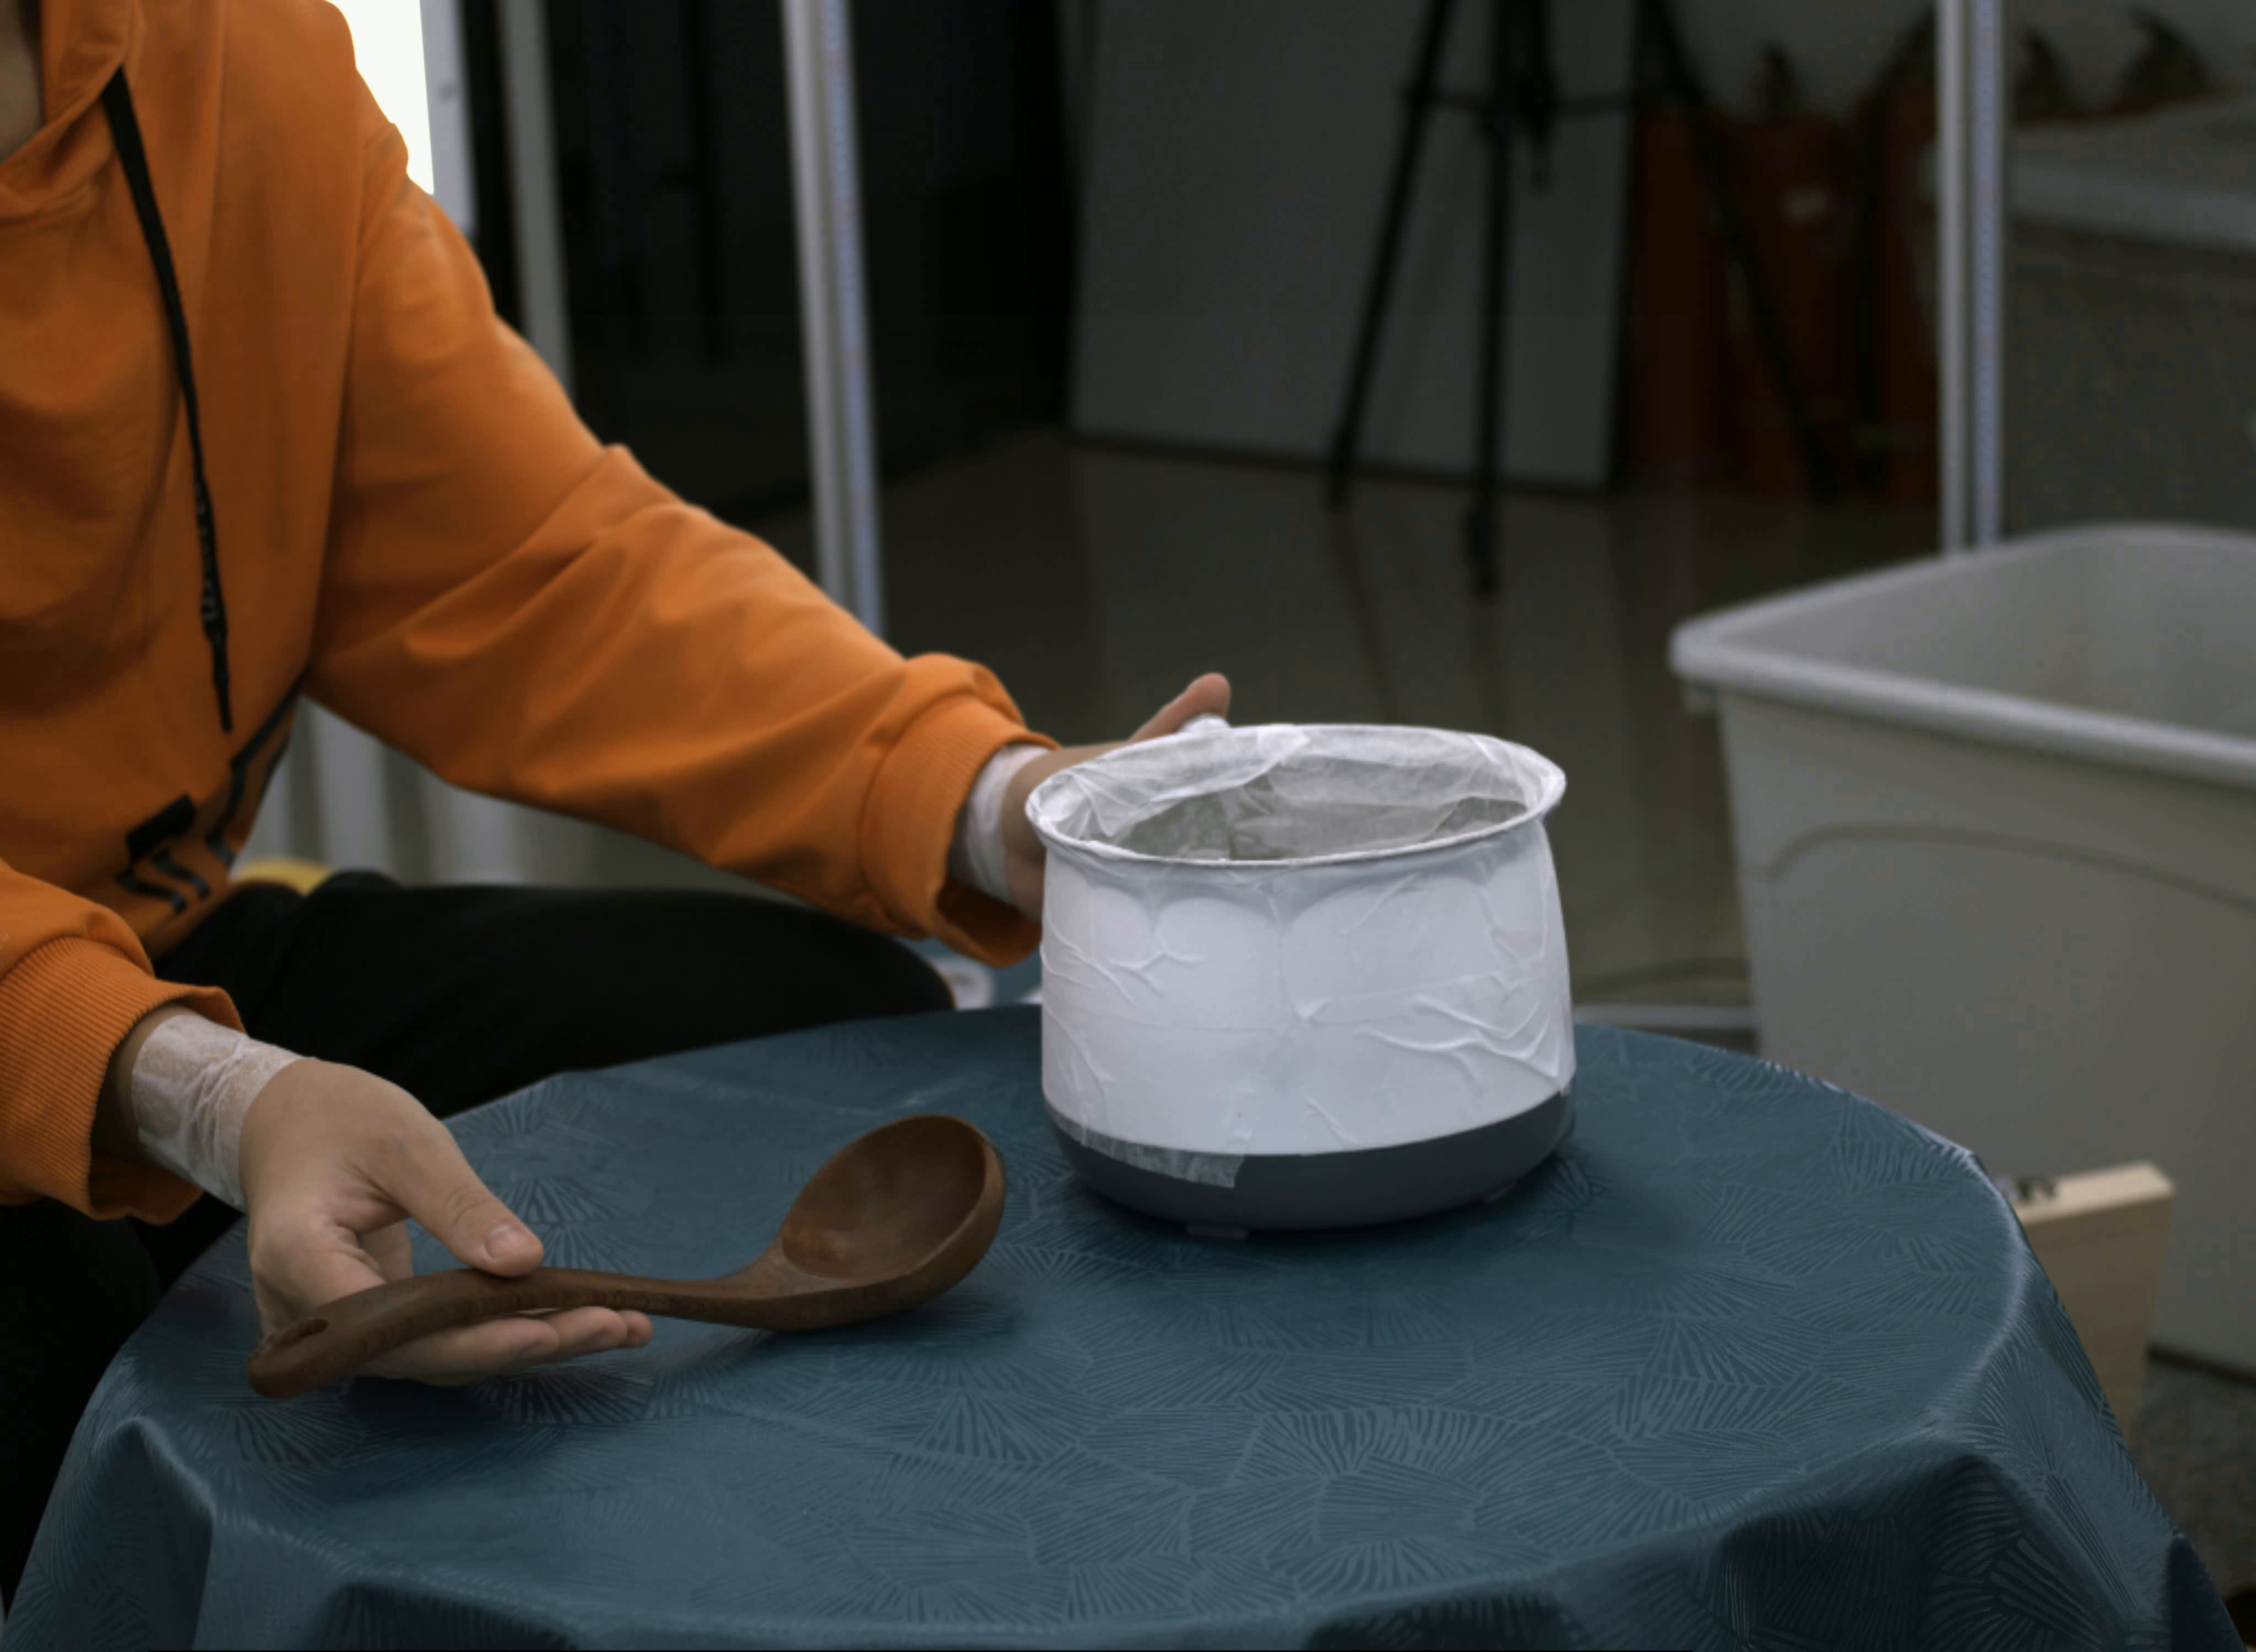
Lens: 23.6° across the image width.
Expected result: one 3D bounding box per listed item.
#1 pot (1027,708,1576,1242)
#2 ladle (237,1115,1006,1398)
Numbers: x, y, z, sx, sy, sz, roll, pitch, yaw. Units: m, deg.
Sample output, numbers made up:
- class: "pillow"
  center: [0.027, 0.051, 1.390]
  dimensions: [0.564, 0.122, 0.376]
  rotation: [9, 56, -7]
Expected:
- class: "pot"
  center: [0.049, 0.043, 1.784]
  dimensions: [0.175, 0.138, 0.235]
  rotation: [-7, 14, -16]
- class: "ladle"
  center: [-0.148, 0.127, 1.614]
  dimensions: [0.254, 0.066, 0.077]
  rotation: [-2, 8, -36]
